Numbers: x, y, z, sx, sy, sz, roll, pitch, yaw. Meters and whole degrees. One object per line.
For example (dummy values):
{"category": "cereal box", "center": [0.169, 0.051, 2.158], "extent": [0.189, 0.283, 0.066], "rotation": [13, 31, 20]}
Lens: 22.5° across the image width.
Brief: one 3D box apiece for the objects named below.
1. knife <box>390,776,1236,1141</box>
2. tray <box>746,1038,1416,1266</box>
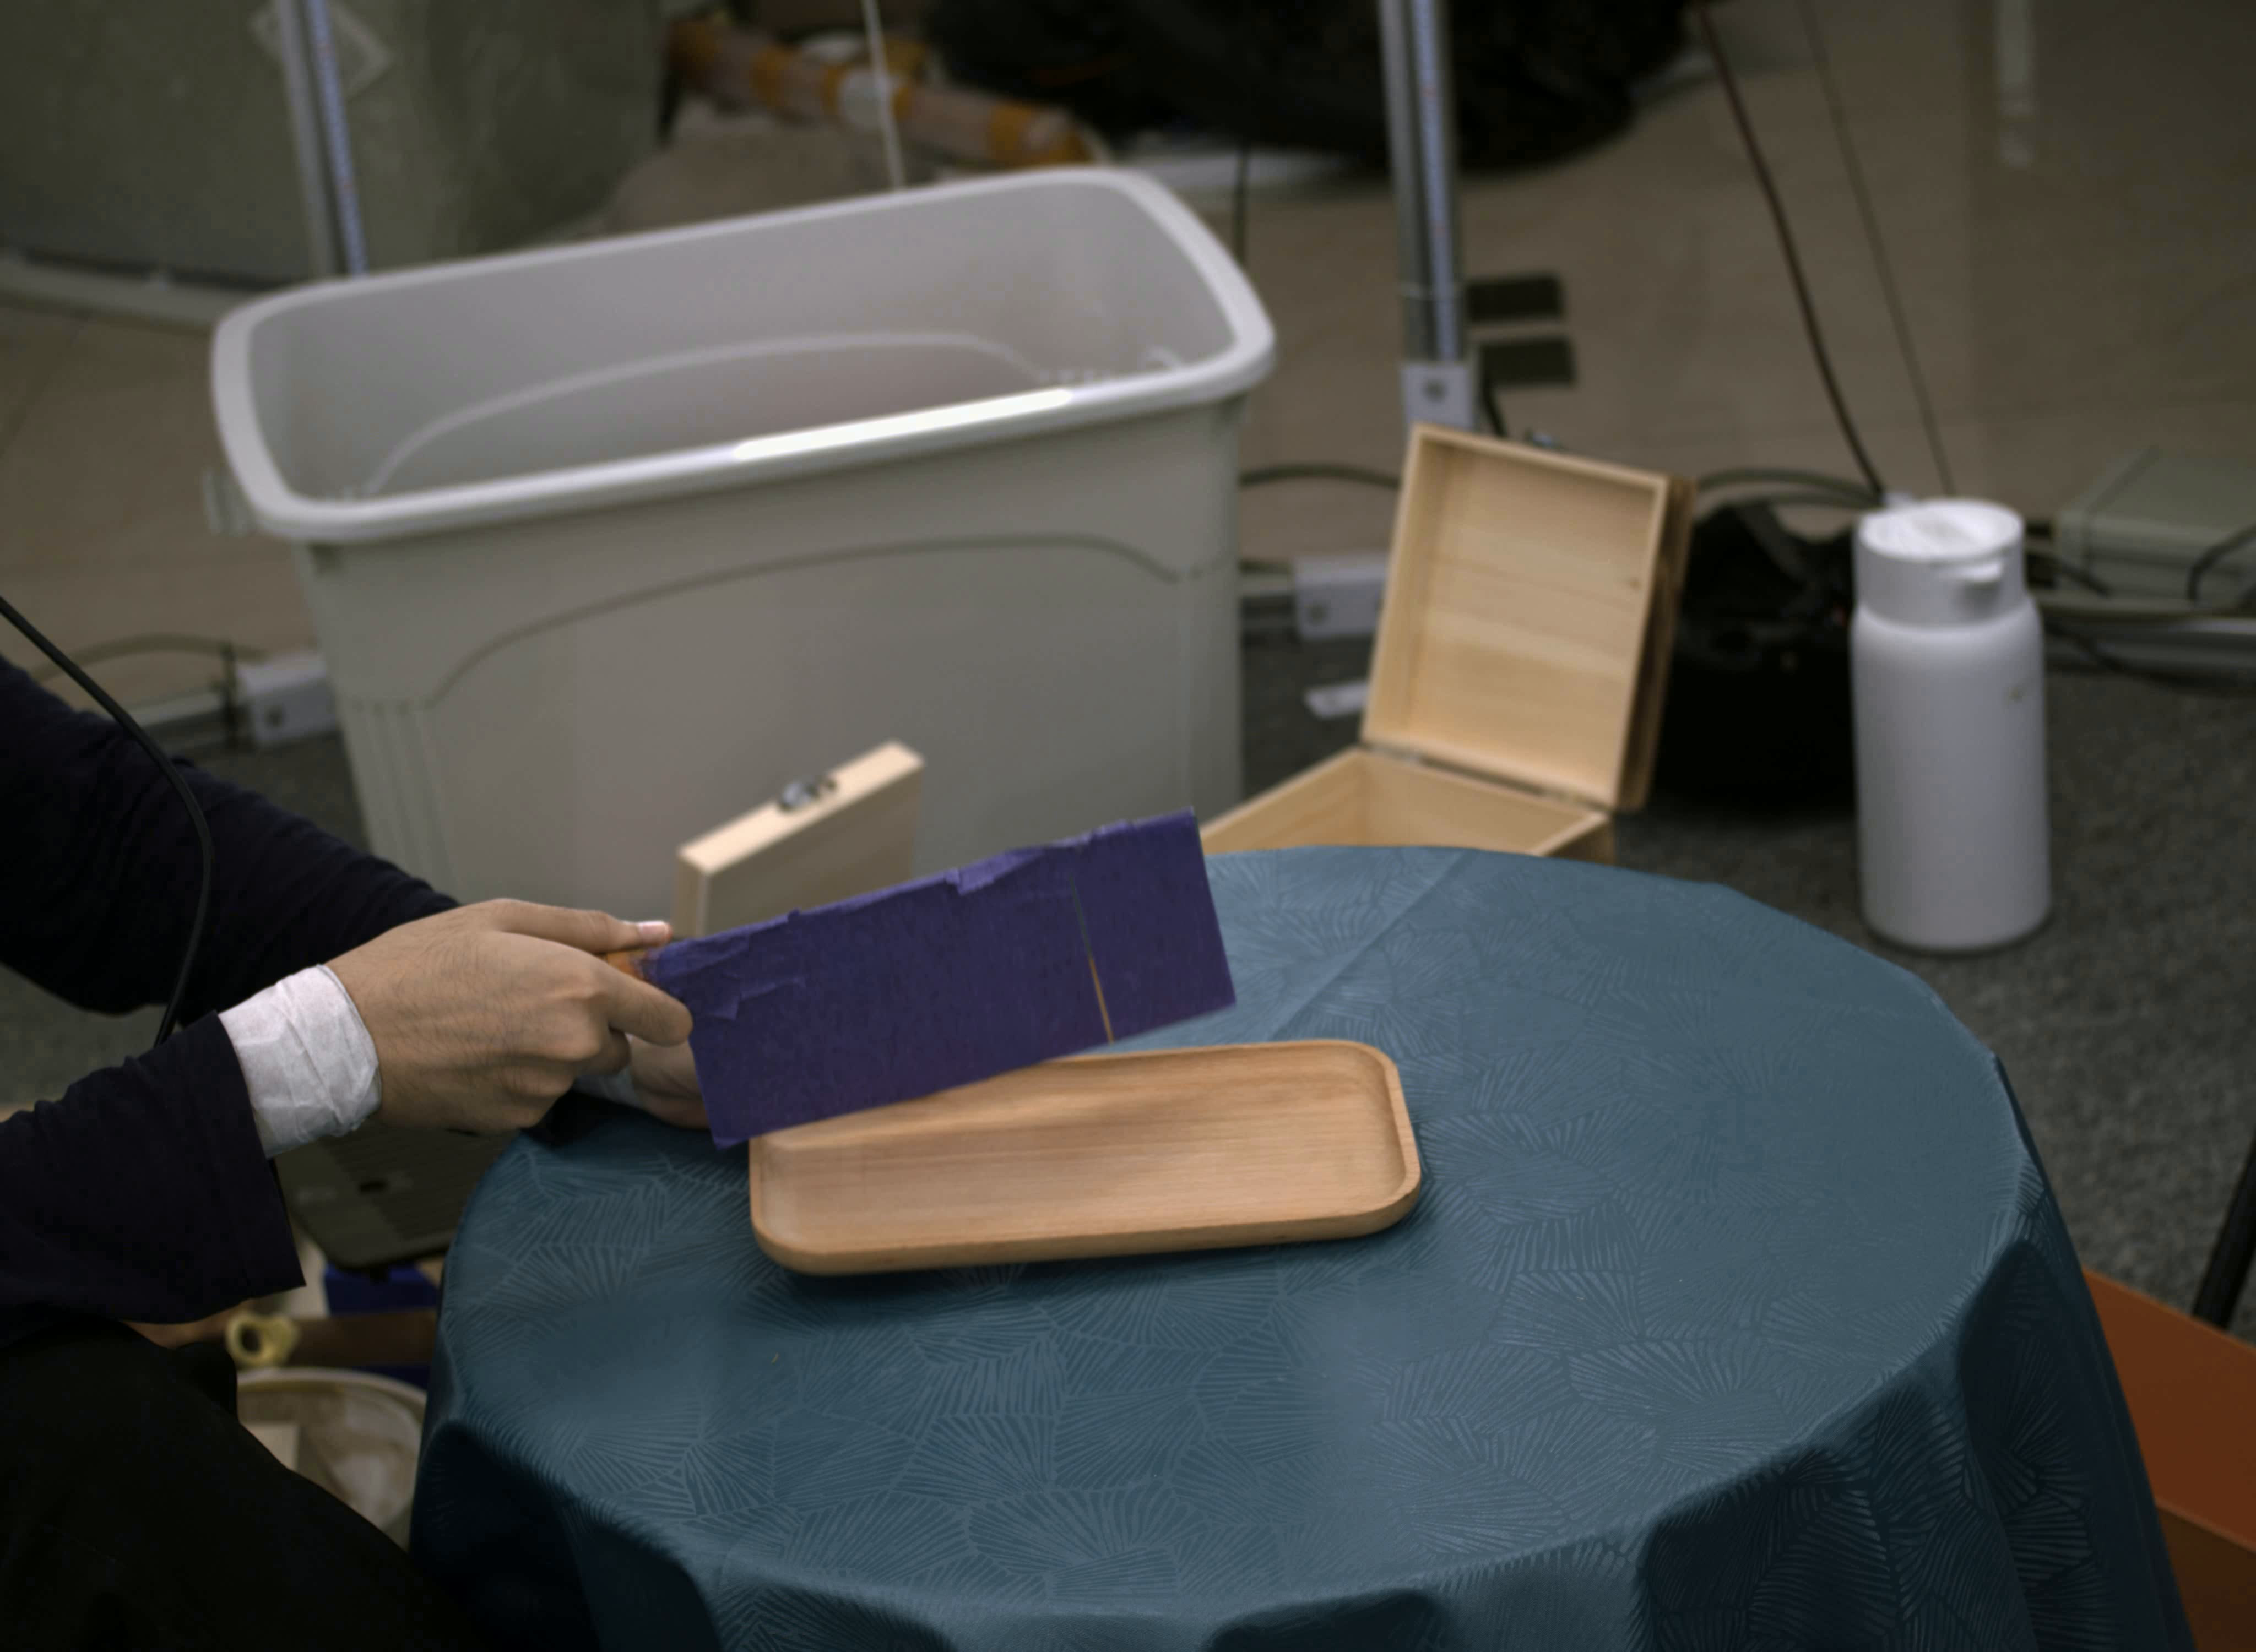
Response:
{"category": "knife", "center": [-0.114, 0.068, 2.125], "extent": [0.314, 0.105, 0.032], "rotation": [-15, 28, -4]}
{"category": "tray", "center": [-0.018, 0.123, 2.142], "extent": [0.250, 0.023, 0.128], "rotation": [-3, 27, 0]}
